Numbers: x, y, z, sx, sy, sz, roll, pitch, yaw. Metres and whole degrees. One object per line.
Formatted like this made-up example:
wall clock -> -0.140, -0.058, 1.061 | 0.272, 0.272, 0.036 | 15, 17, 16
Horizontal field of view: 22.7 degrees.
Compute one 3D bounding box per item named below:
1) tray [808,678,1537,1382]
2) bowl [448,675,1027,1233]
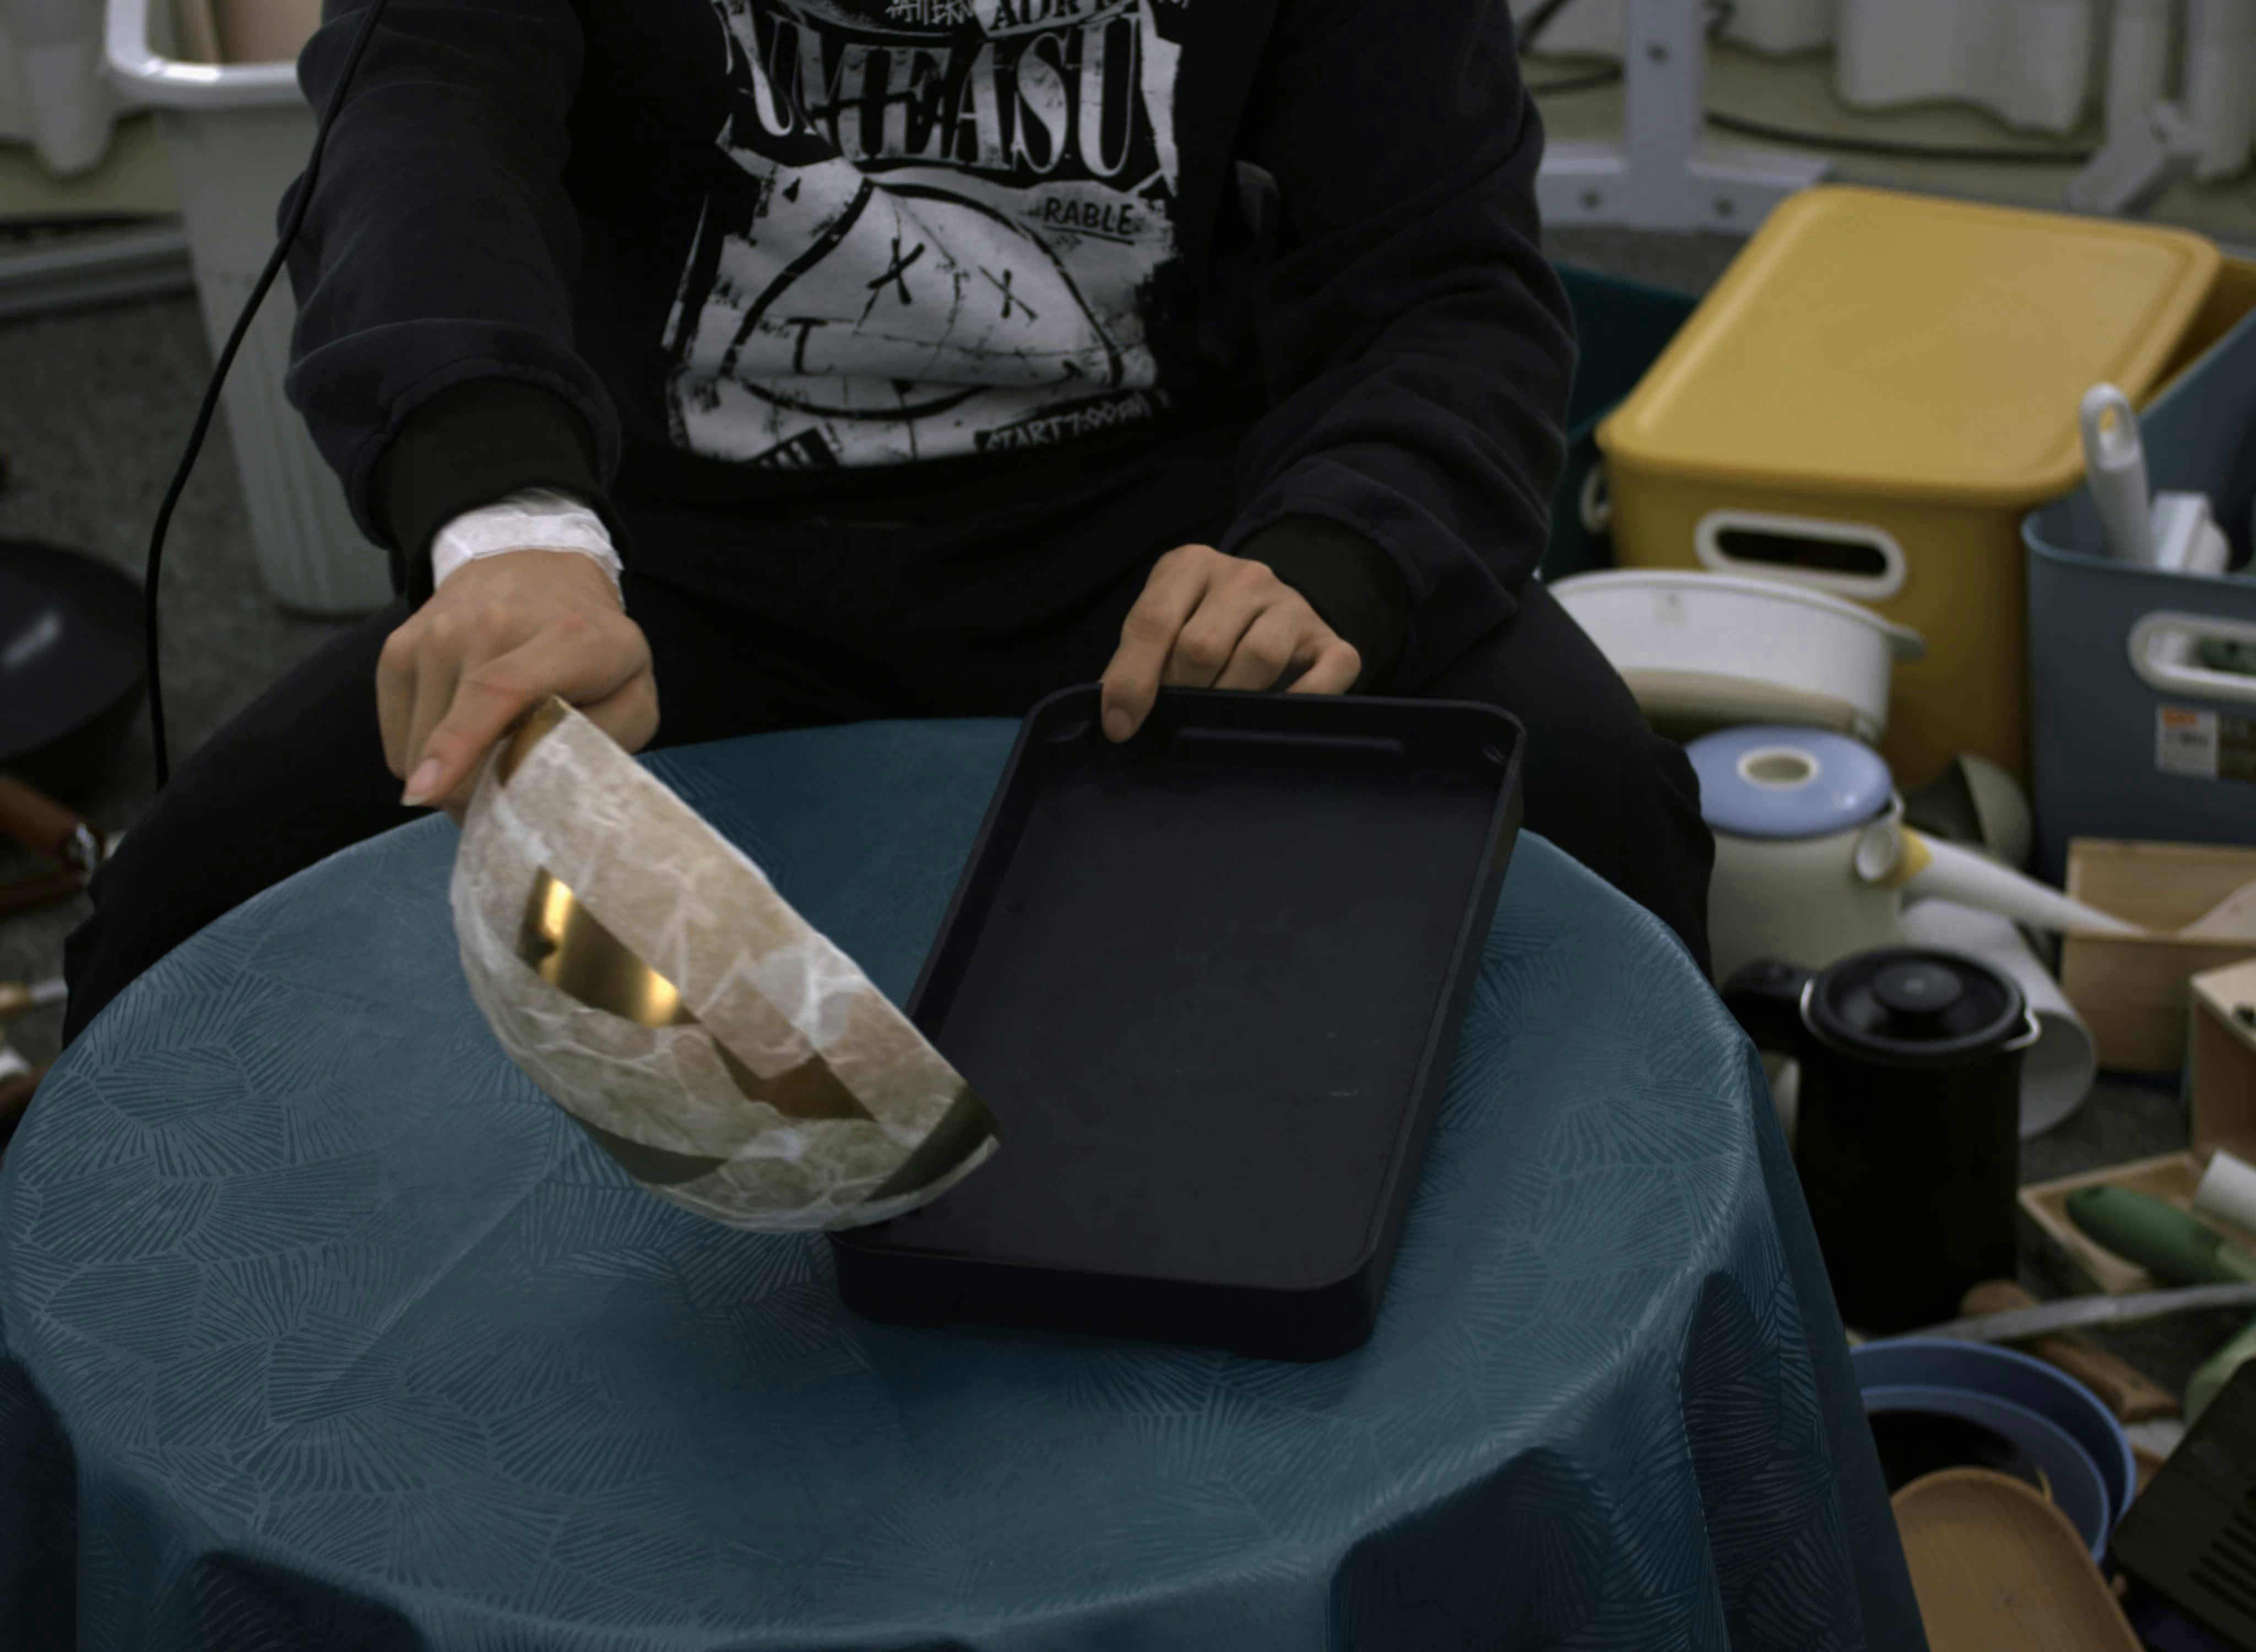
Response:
tray -> 0.022, 0.062, 1.896 | 0.183, 0.036, 0.324 | 5, 38, 14
bowl -> -0.139, 0.060, 1.738 | 0.095, 0.213, 0.215 | -47, 39, -6
